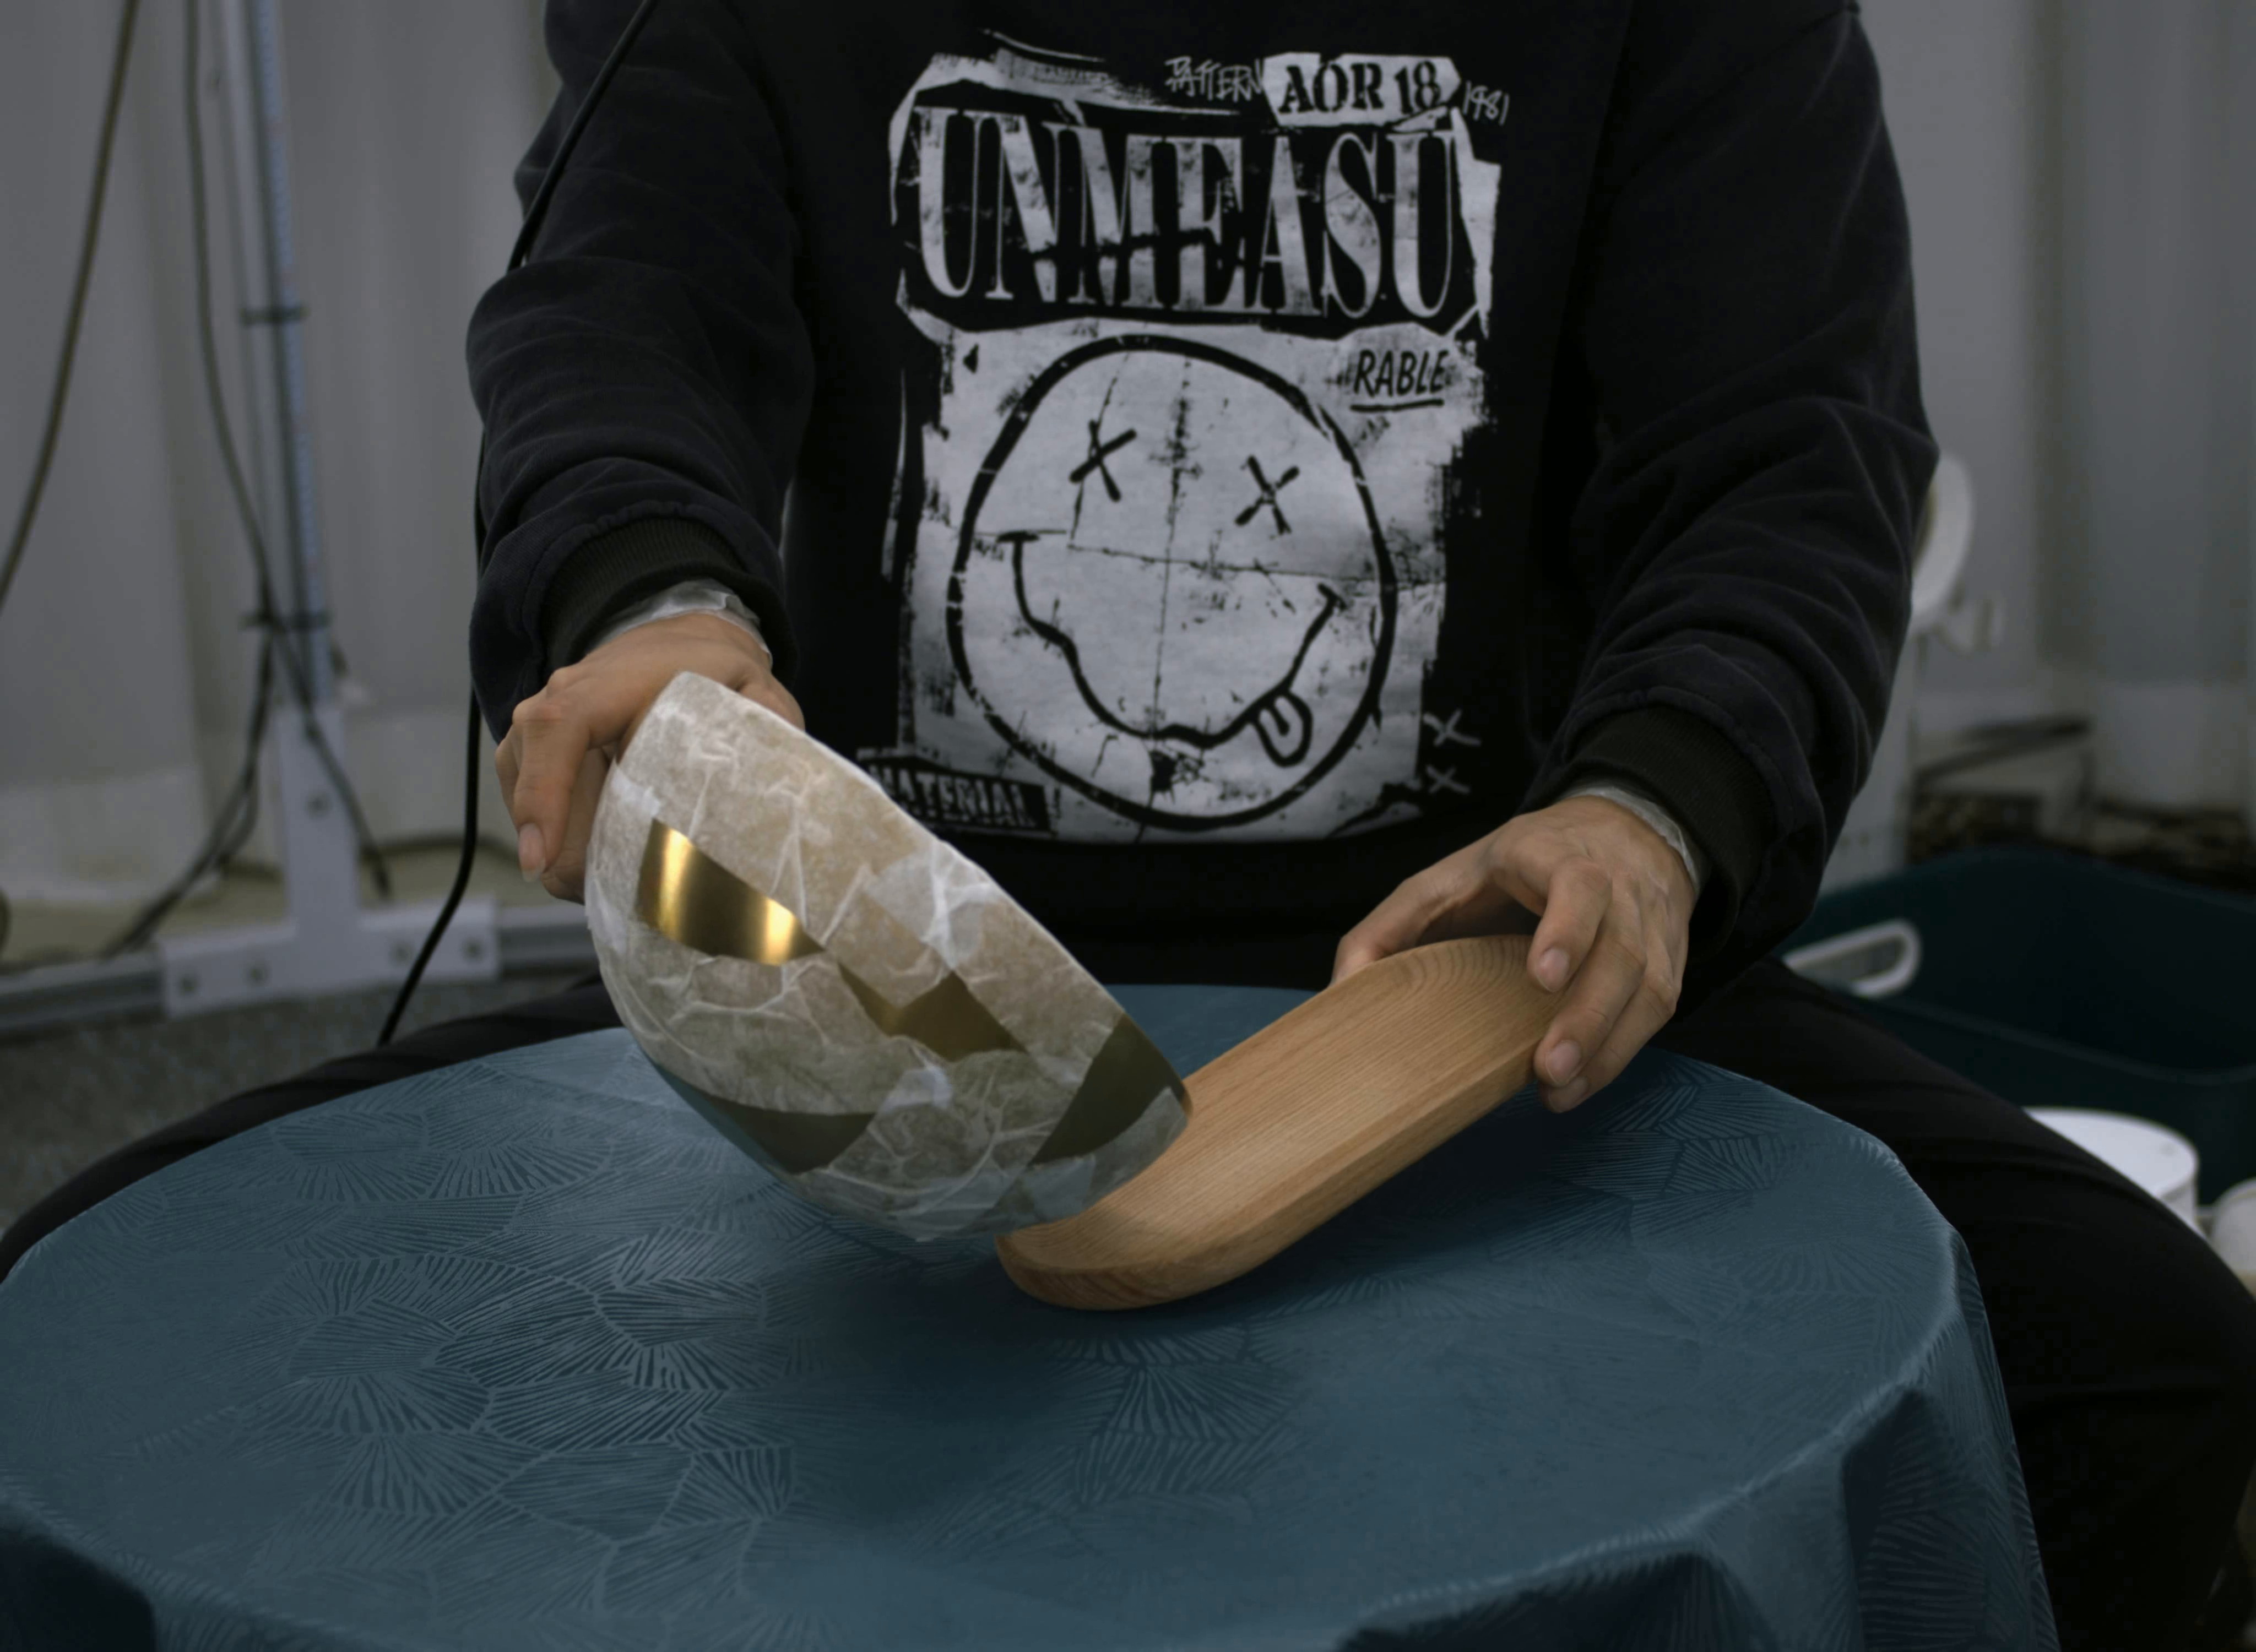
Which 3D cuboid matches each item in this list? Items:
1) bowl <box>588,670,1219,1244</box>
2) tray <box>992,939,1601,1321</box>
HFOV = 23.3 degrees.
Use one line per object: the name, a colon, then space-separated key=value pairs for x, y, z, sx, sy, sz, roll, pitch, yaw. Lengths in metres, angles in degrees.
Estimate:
bowl: x=-0.082 y=0.057 z=1.579 sx=0.095 sy=0.212 sz=0.216 roll=-50 pitch=30 yaw=-10
tray: x=0.054 y=0.091 z=1.674 sx=0.232 sy=0.020 sz=0.102 roll=-33 pitch=25 yaw=-36
